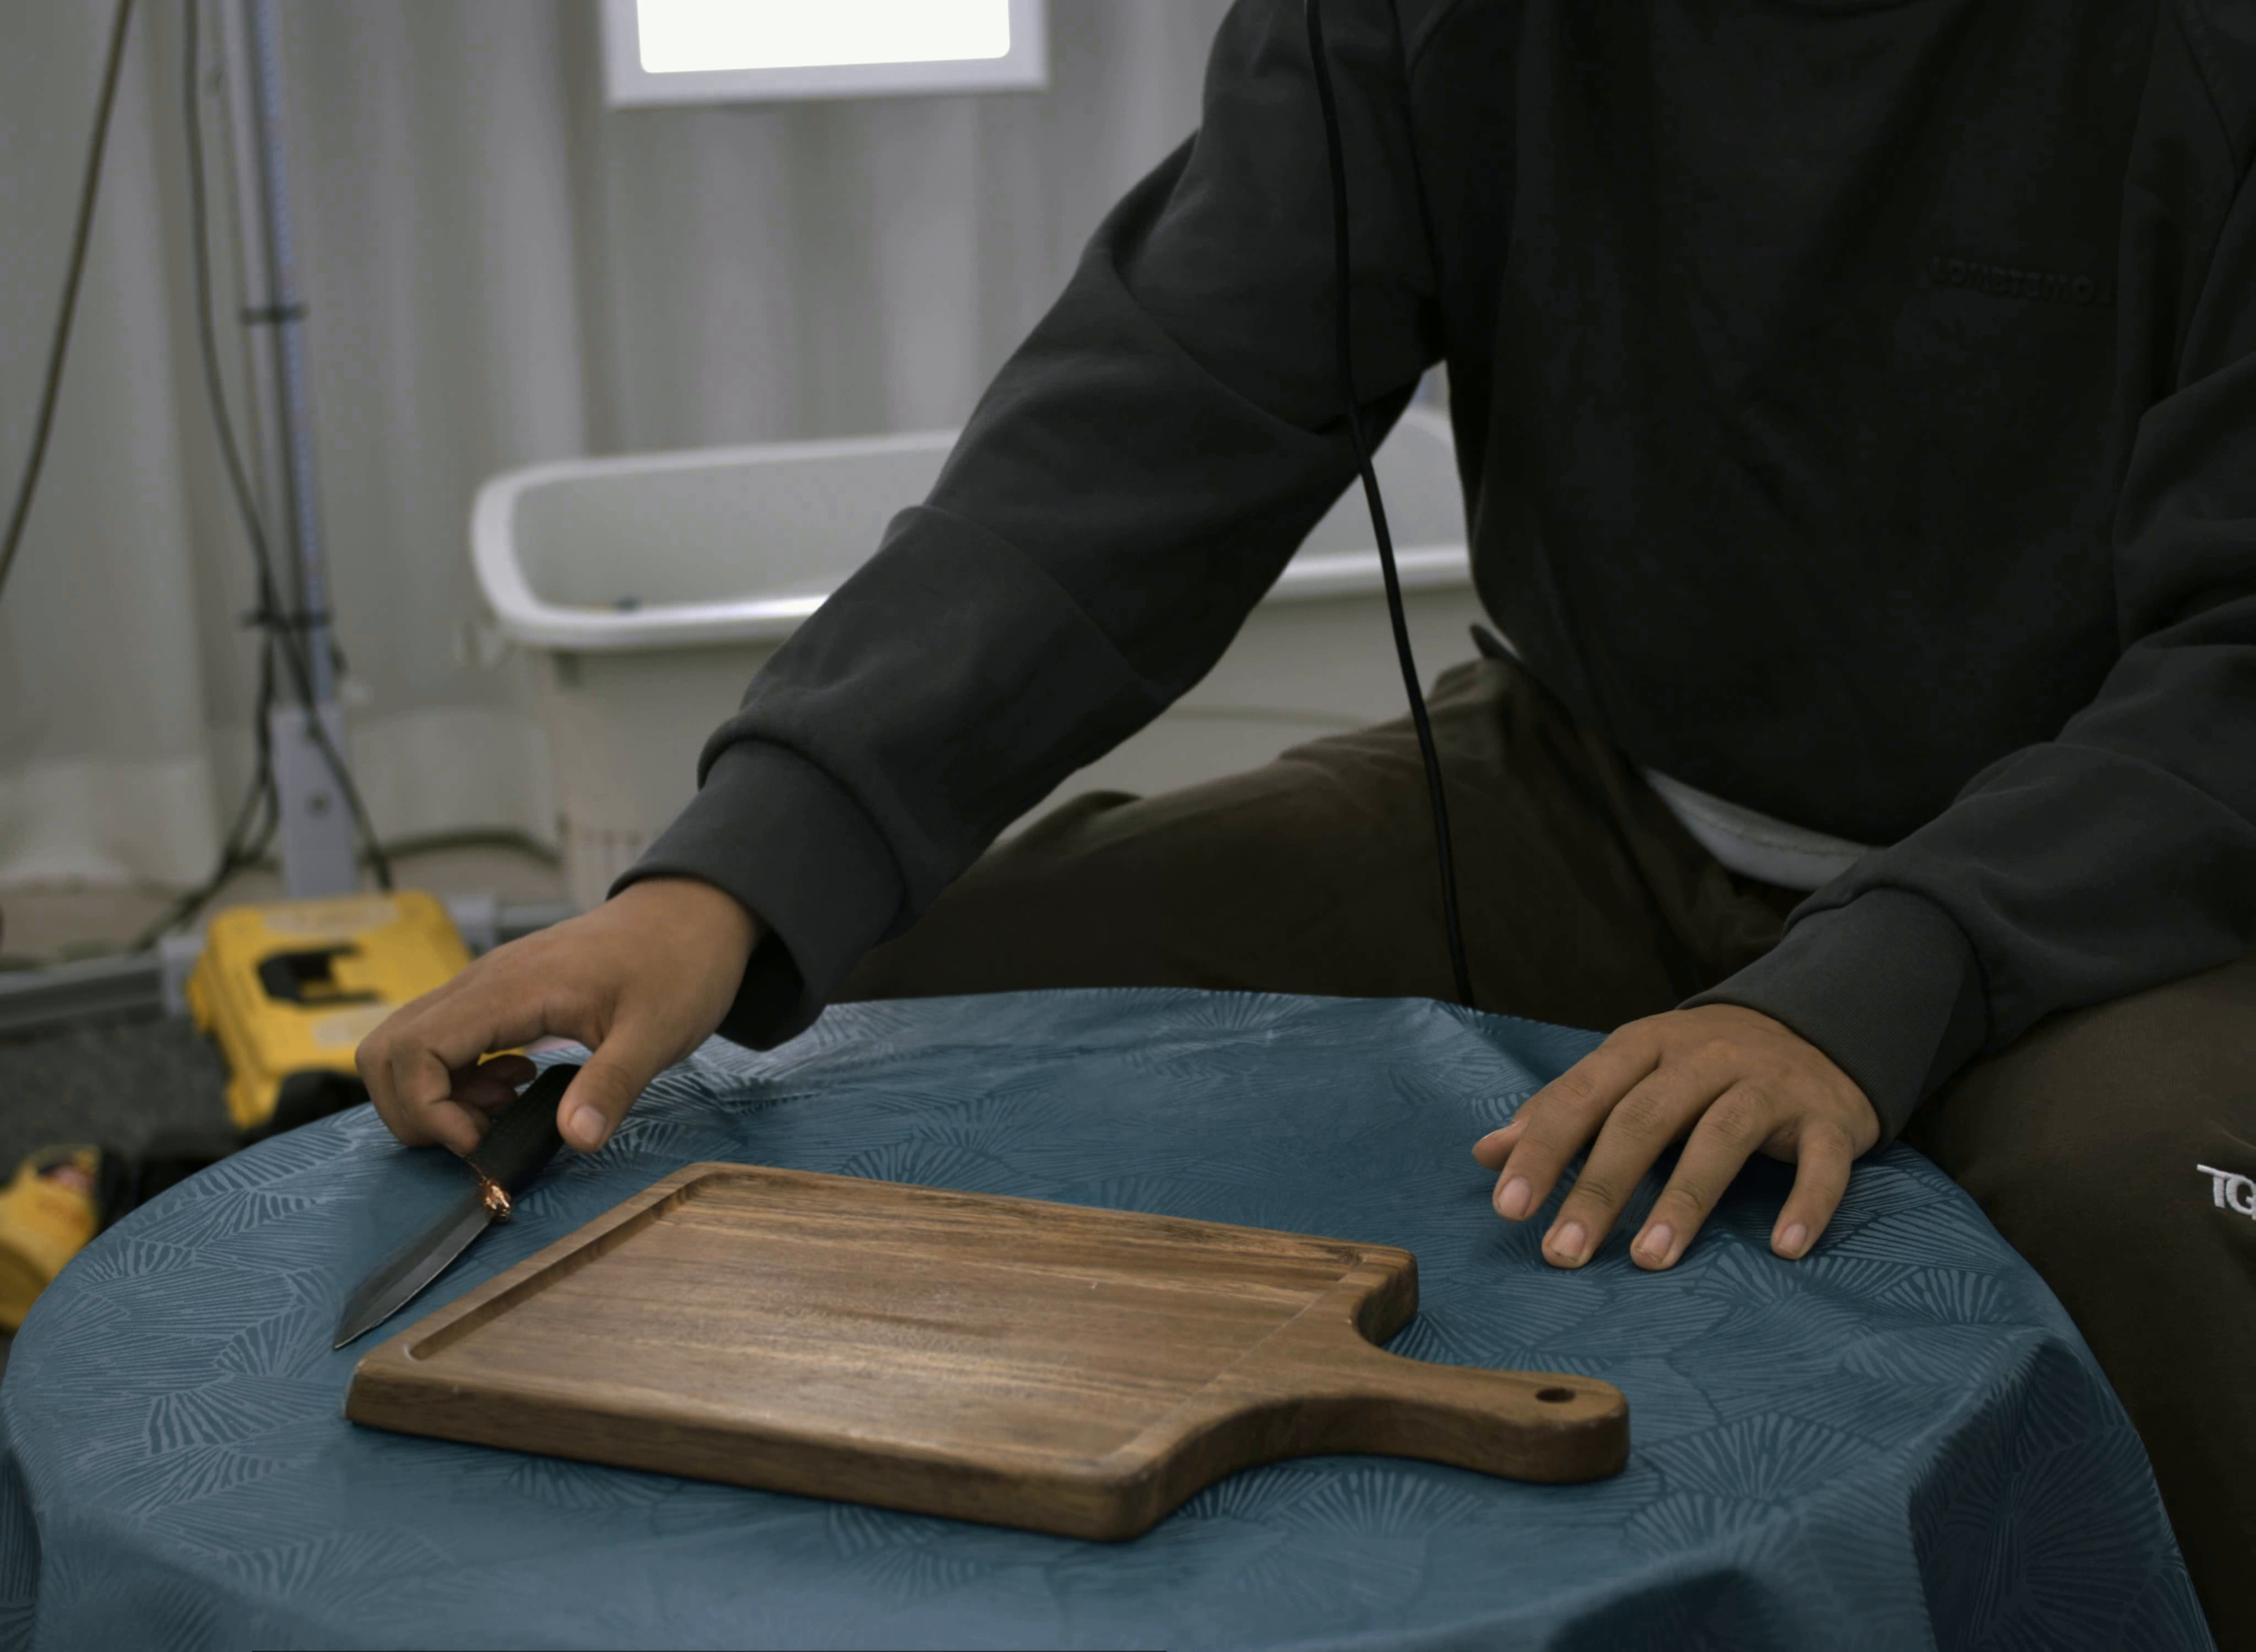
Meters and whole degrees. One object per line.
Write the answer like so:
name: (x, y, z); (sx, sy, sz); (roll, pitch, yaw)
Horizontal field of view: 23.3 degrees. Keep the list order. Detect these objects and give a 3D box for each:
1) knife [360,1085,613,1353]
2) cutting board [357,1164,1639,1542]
knife: (-0.203, 0.122, 1.707); (0.026, 0.017, 0.226); (7, 17, 12)
cutting board: (-0.022, 0.150, 1.546); (0.353, 0.023, 0.201); (5, 17, 26)
